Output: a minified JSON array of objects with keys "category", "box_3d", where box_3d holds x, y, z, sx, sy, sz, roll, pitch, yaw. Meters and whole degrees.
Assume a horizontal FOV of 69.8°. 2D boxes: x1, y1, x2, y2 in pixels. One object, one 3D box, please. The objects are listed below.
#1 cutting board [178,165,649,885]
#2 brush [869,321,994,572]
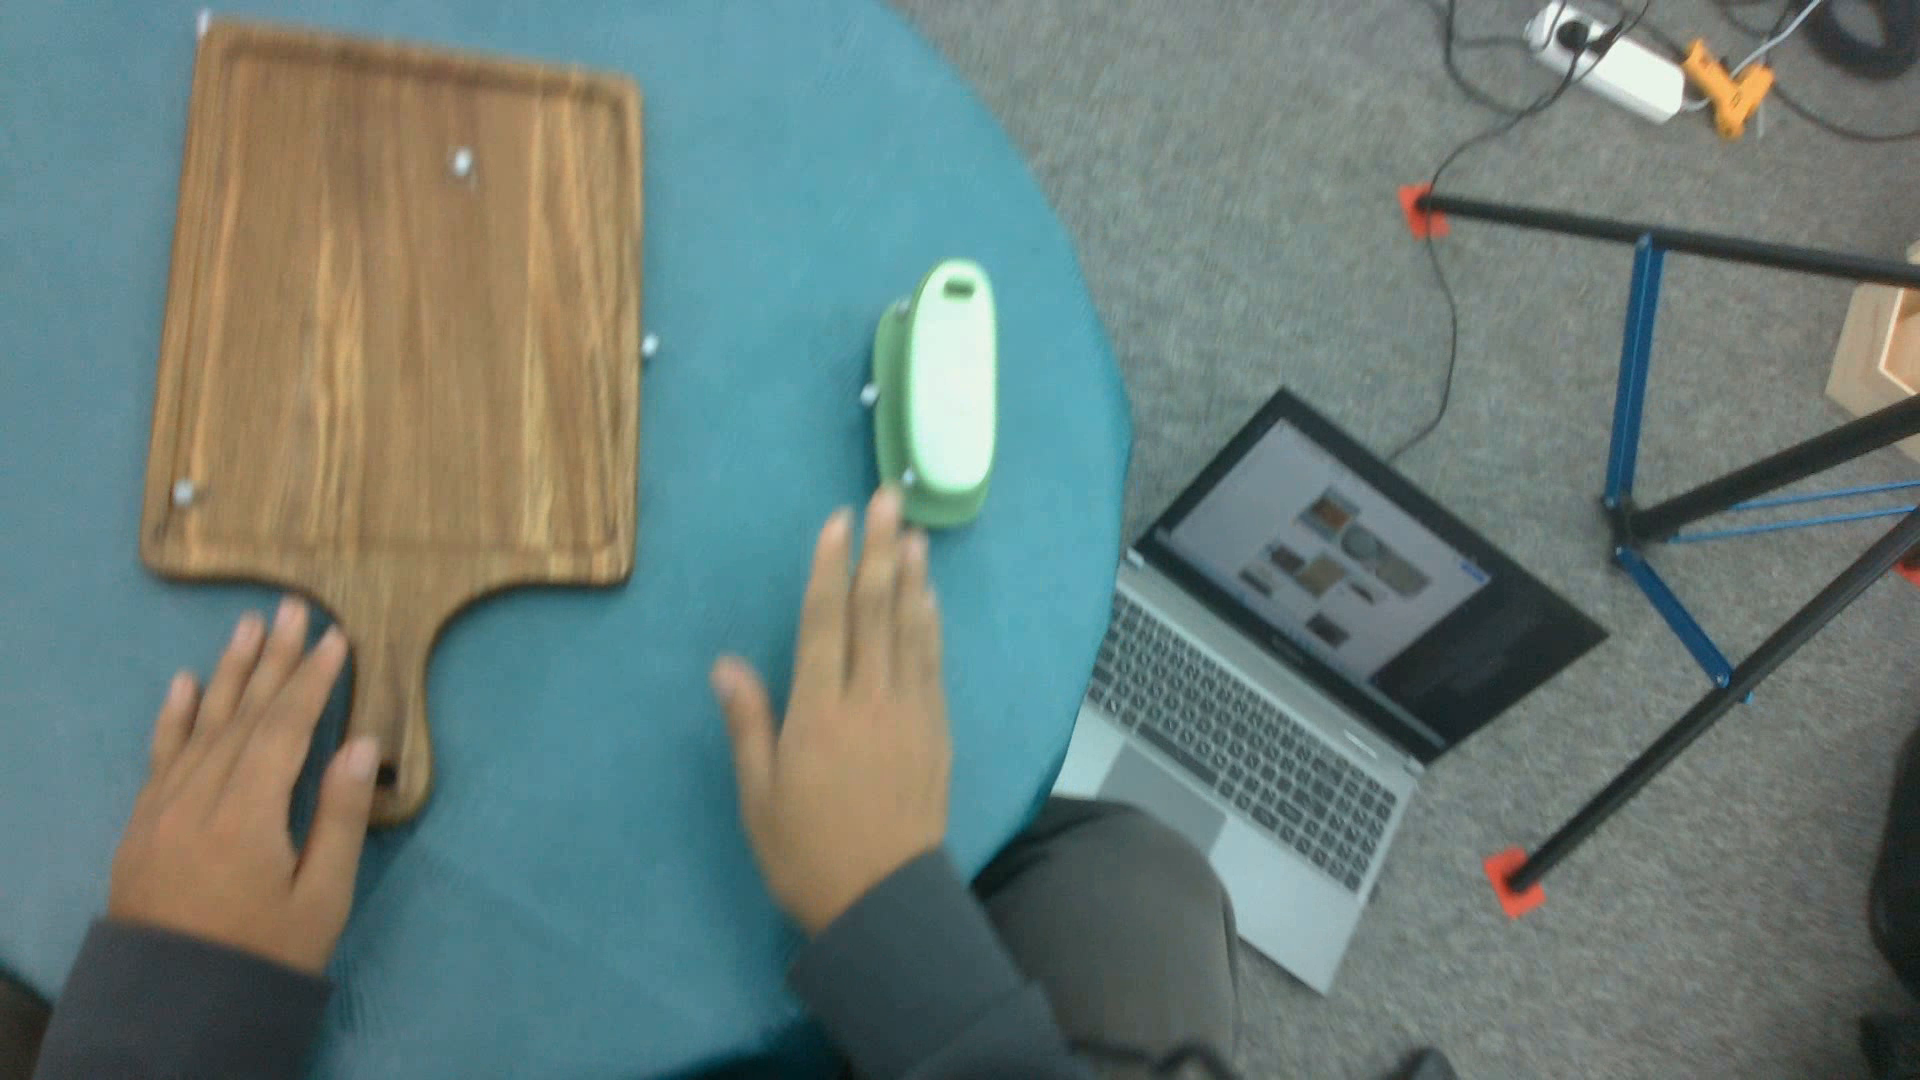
[{"category":"cutting board","box_3d":[-0.250,-0.019,0.645,0.201,0.023,0.353,-1,70,-16]},{"category":"brush","box_3d":[-0.015,-0.044,0.705,0.060,0.075,0.123,-3,84,-17]}]
